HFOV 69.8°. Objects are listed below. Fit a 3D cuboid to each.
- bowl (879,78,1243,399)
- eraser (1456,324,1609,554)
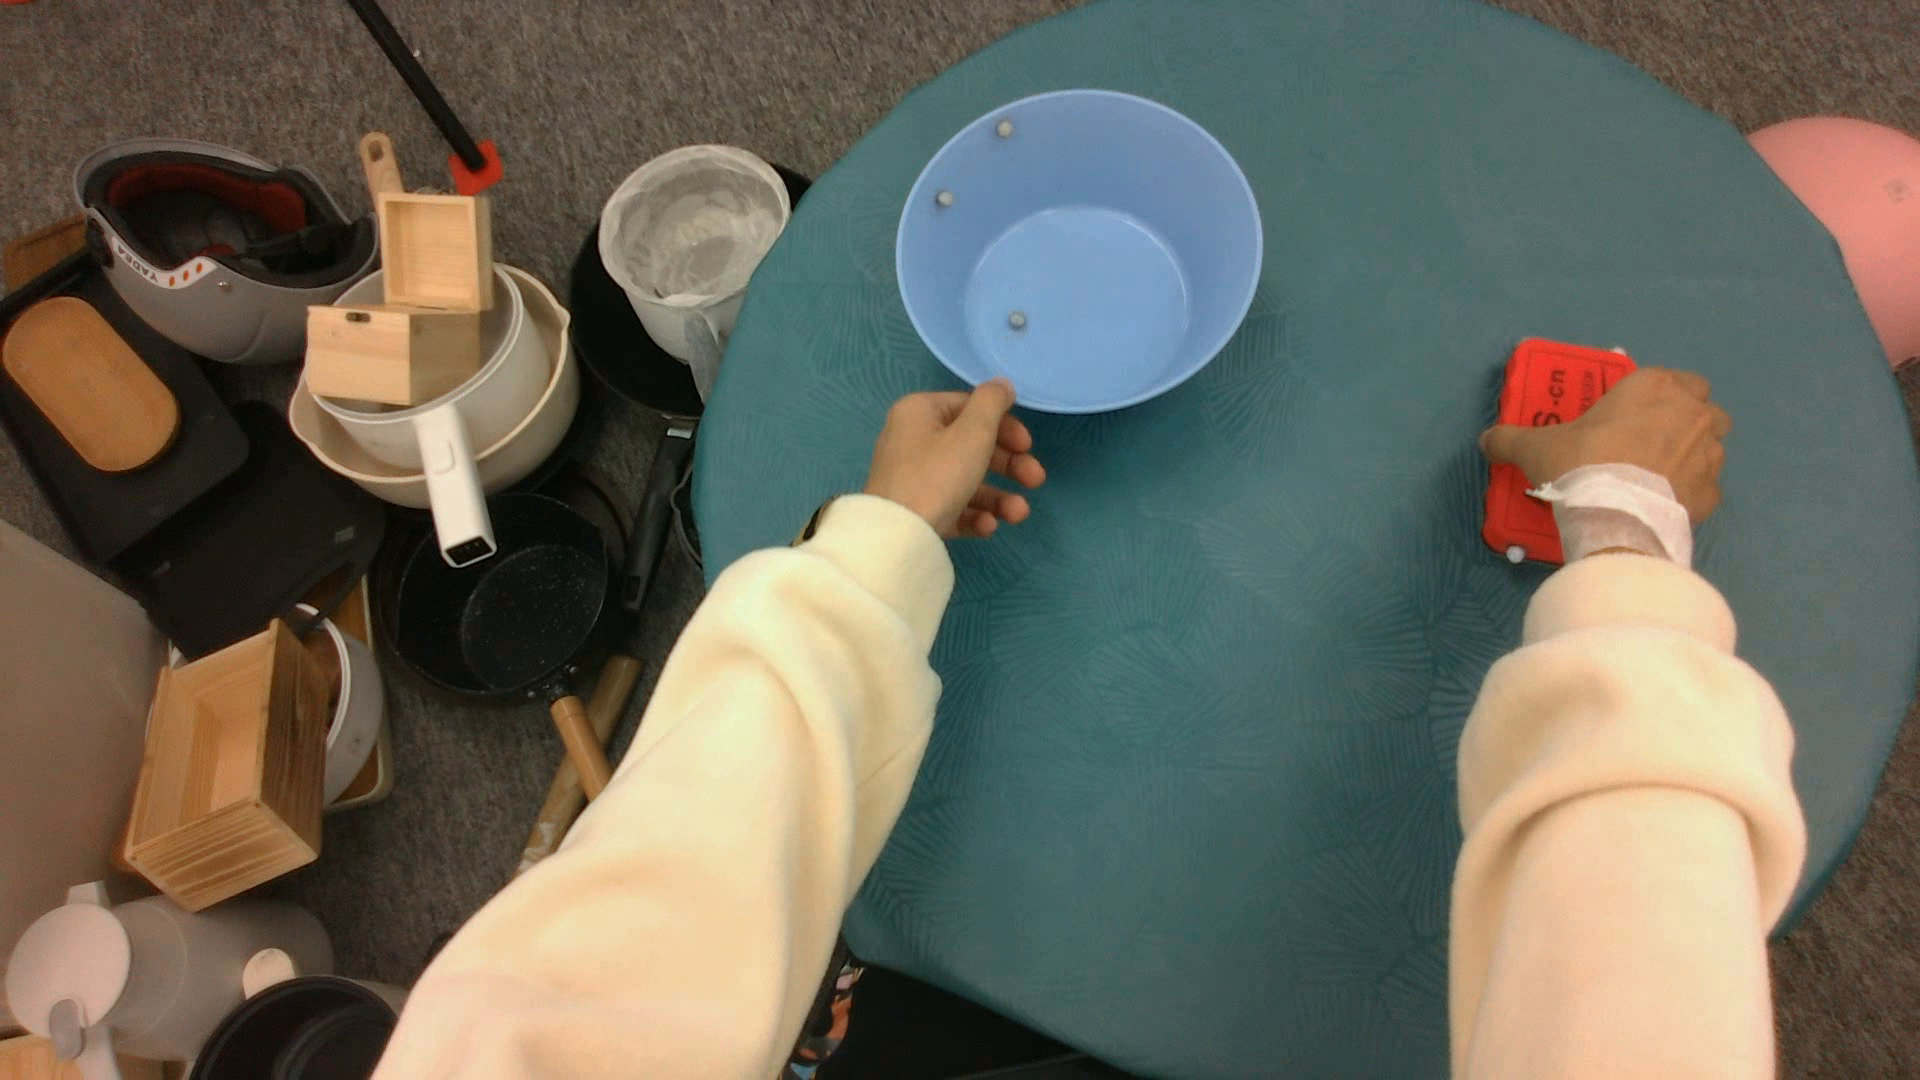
[{"bbox_3d":[0.050,-0.138,0.690,0.176,0.070,0.176,-1,71,3],"label":"bowl"},{"bbox_3d":[0.279,-0.050,0.670,0.059,0.023,0.108,12,72,6],"label":"eraser"}]
